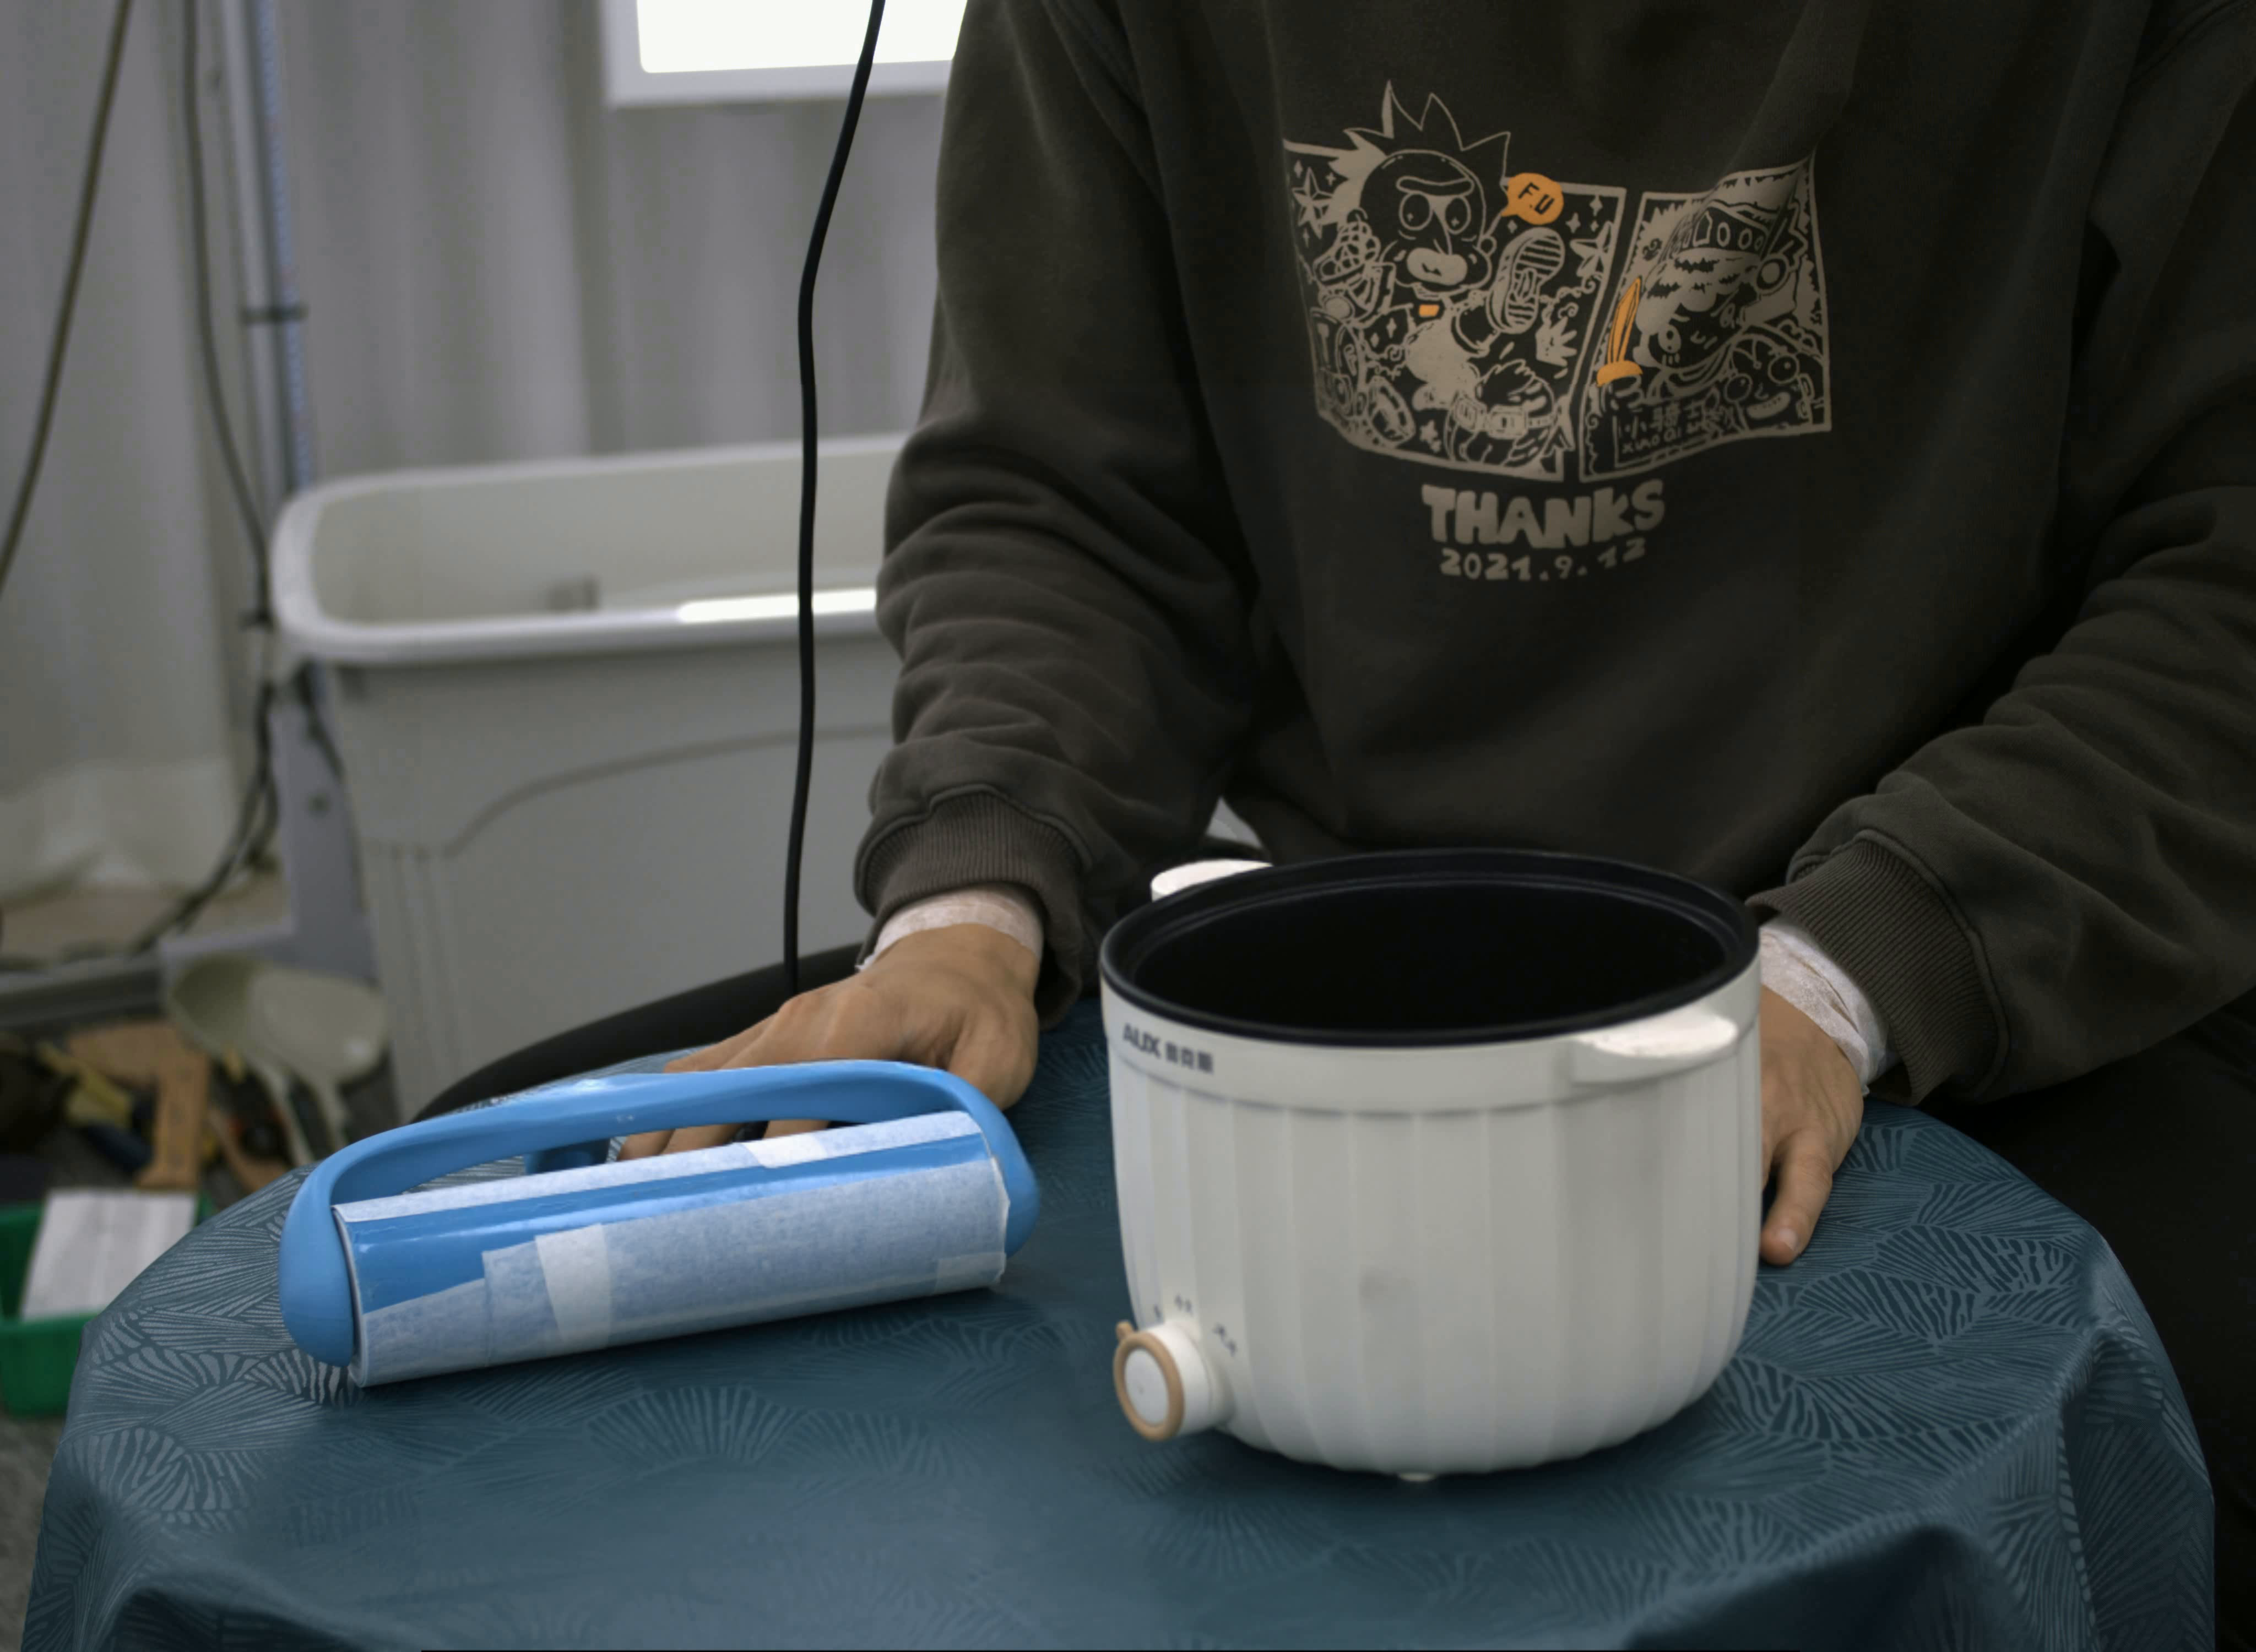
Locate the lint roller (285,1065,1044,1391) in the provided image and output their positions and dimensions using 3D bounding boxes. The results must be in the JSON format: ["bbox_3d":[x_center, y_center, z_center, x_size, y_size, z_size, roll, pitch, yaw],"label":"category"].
[{"bbox_3d":[-0.156,0.109,1.665,0.228,0.067,0.182,-10,18,-19],"label":"lint roller"}]

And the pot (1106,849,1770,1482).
[{"bbox_3d":[0.083,0.096,1.510,0.189,0.142,0.242,-9,14,-34],"label":"pot"}]
